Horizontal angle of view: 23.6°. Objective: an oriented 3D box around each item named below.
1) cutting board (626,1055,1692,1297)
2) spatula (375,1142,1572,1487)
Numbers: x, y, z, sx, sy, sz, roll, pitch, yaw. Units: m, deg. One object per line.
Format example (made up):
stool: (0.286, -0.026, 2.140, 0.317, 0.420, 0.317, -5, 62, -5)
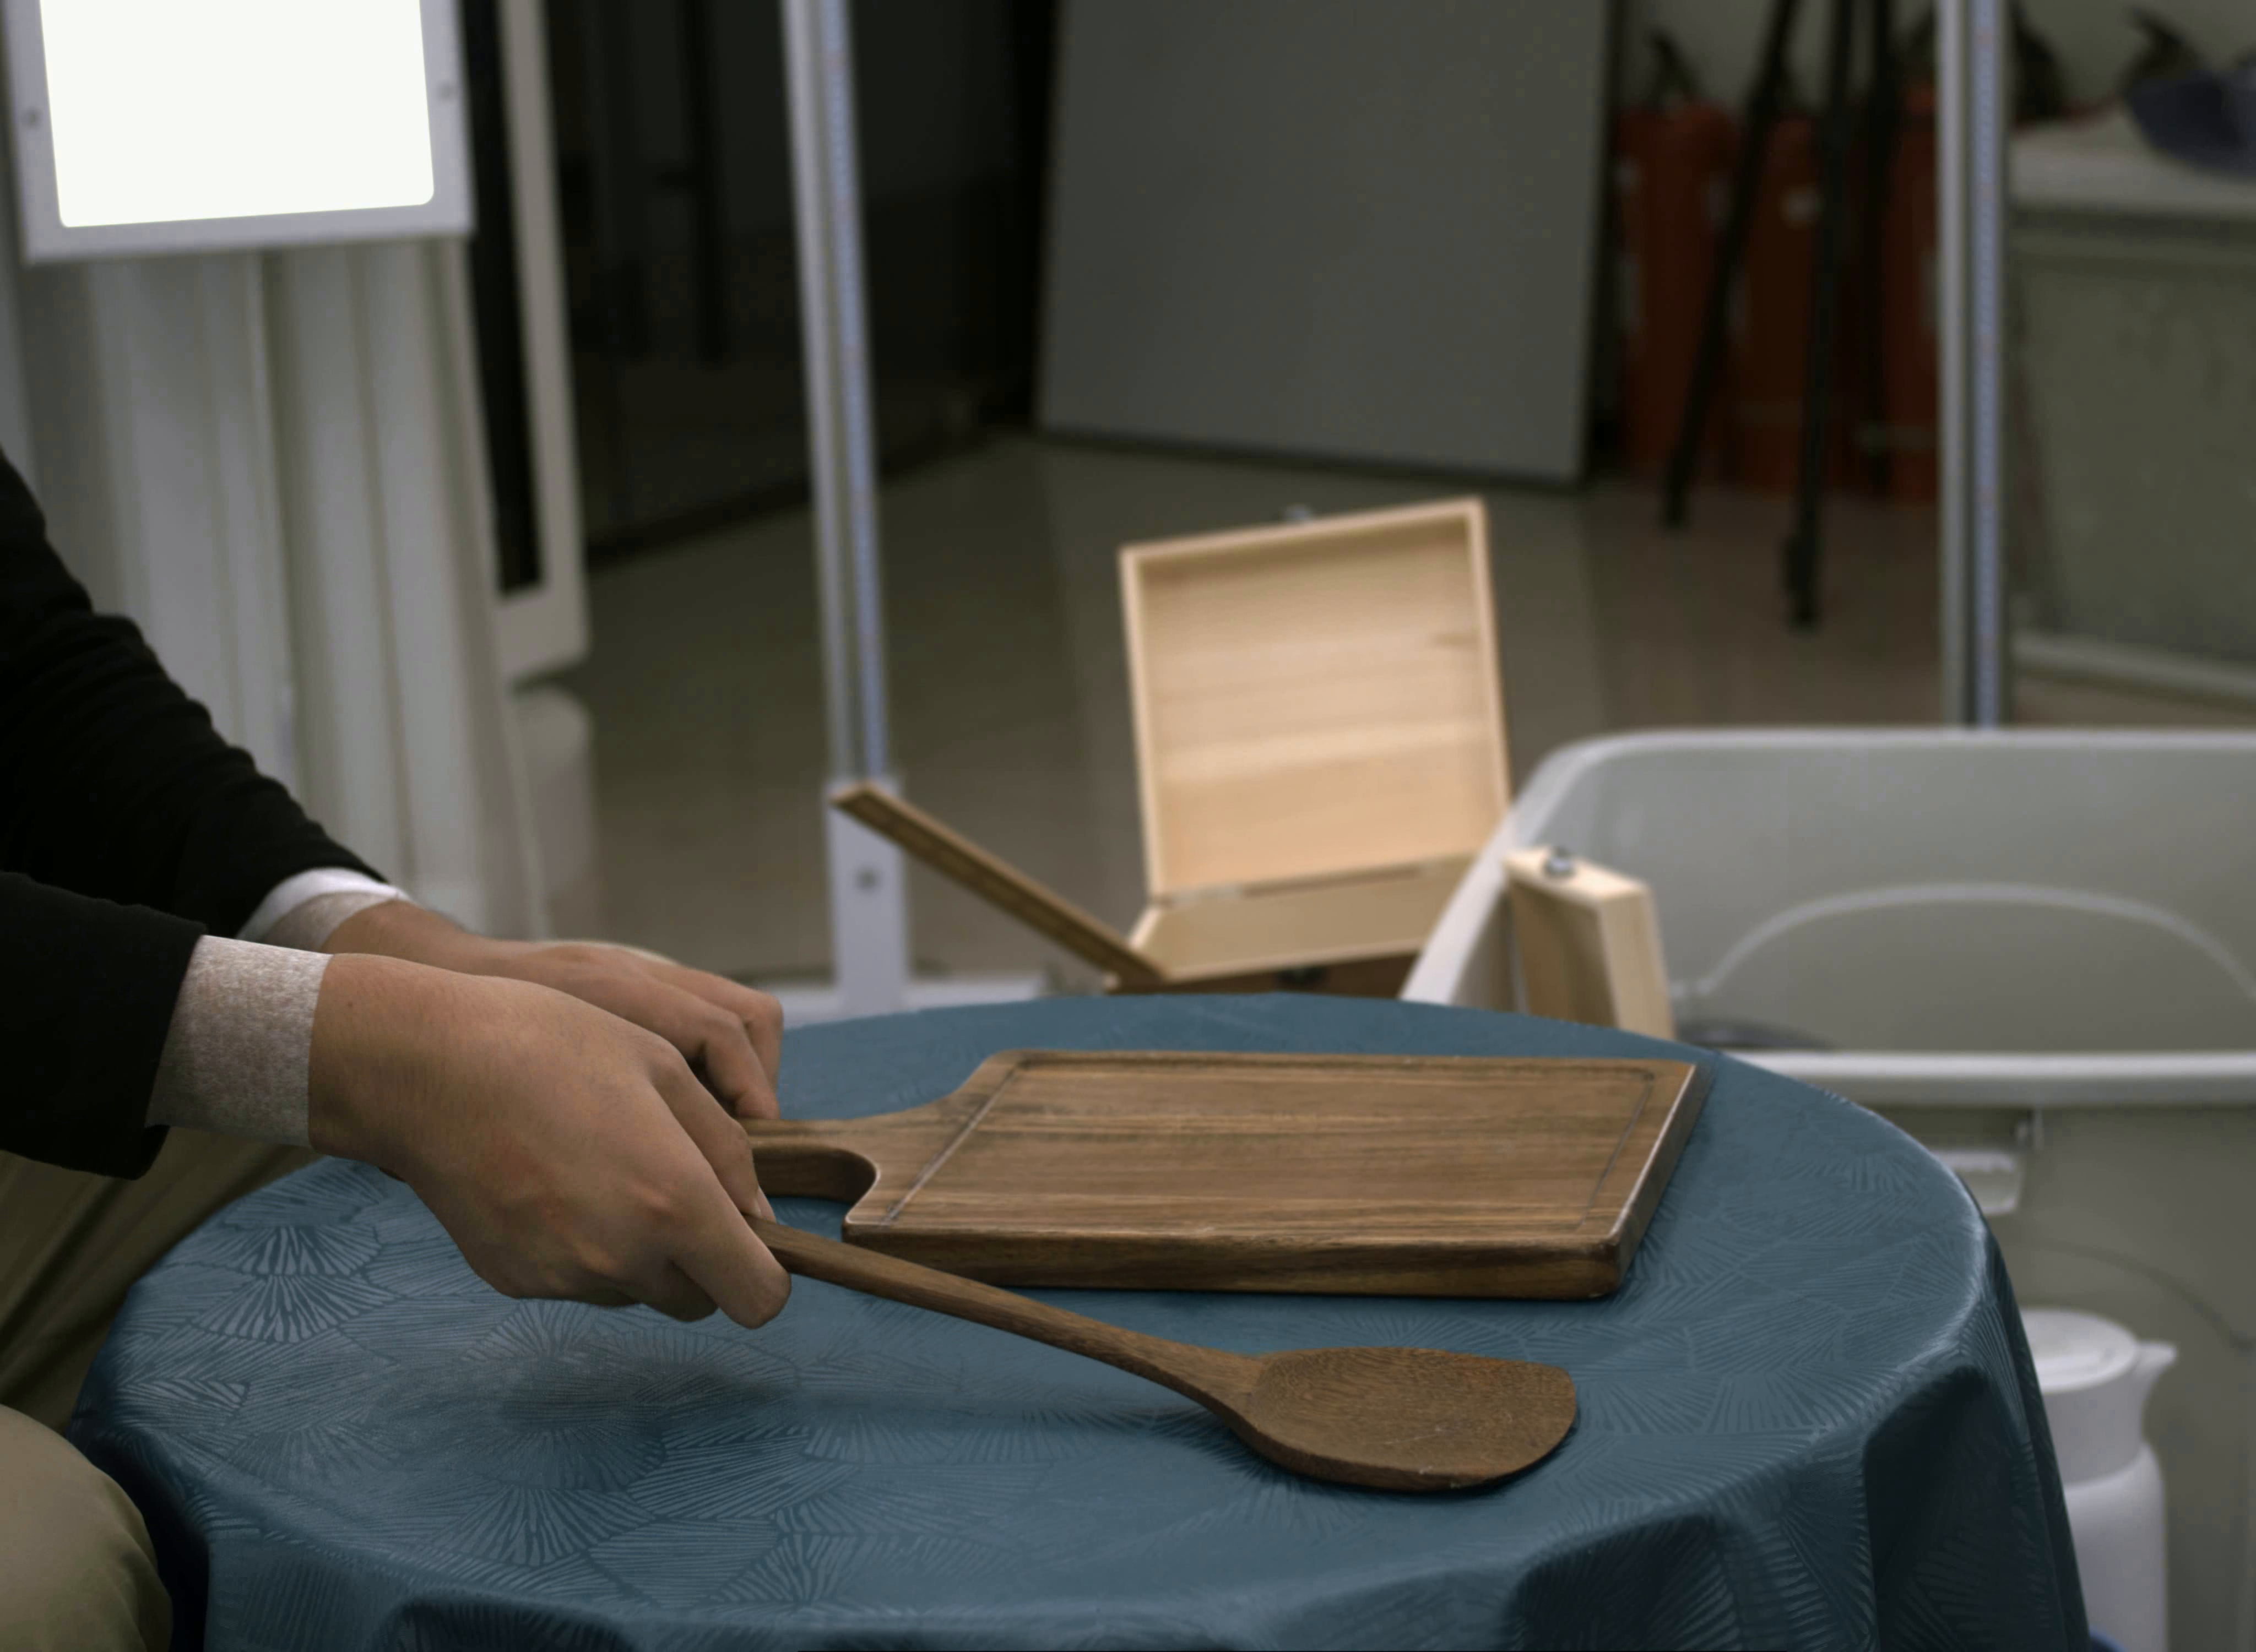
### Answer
cutting board: (0.003, 0.111, 1.765, 0.350, 0.023, 0.199, 0, 14, 15)
spatula: (-0.054, 0.138, 1.585, 0.386, 0.016, 0.095, 12, 19, 22)
